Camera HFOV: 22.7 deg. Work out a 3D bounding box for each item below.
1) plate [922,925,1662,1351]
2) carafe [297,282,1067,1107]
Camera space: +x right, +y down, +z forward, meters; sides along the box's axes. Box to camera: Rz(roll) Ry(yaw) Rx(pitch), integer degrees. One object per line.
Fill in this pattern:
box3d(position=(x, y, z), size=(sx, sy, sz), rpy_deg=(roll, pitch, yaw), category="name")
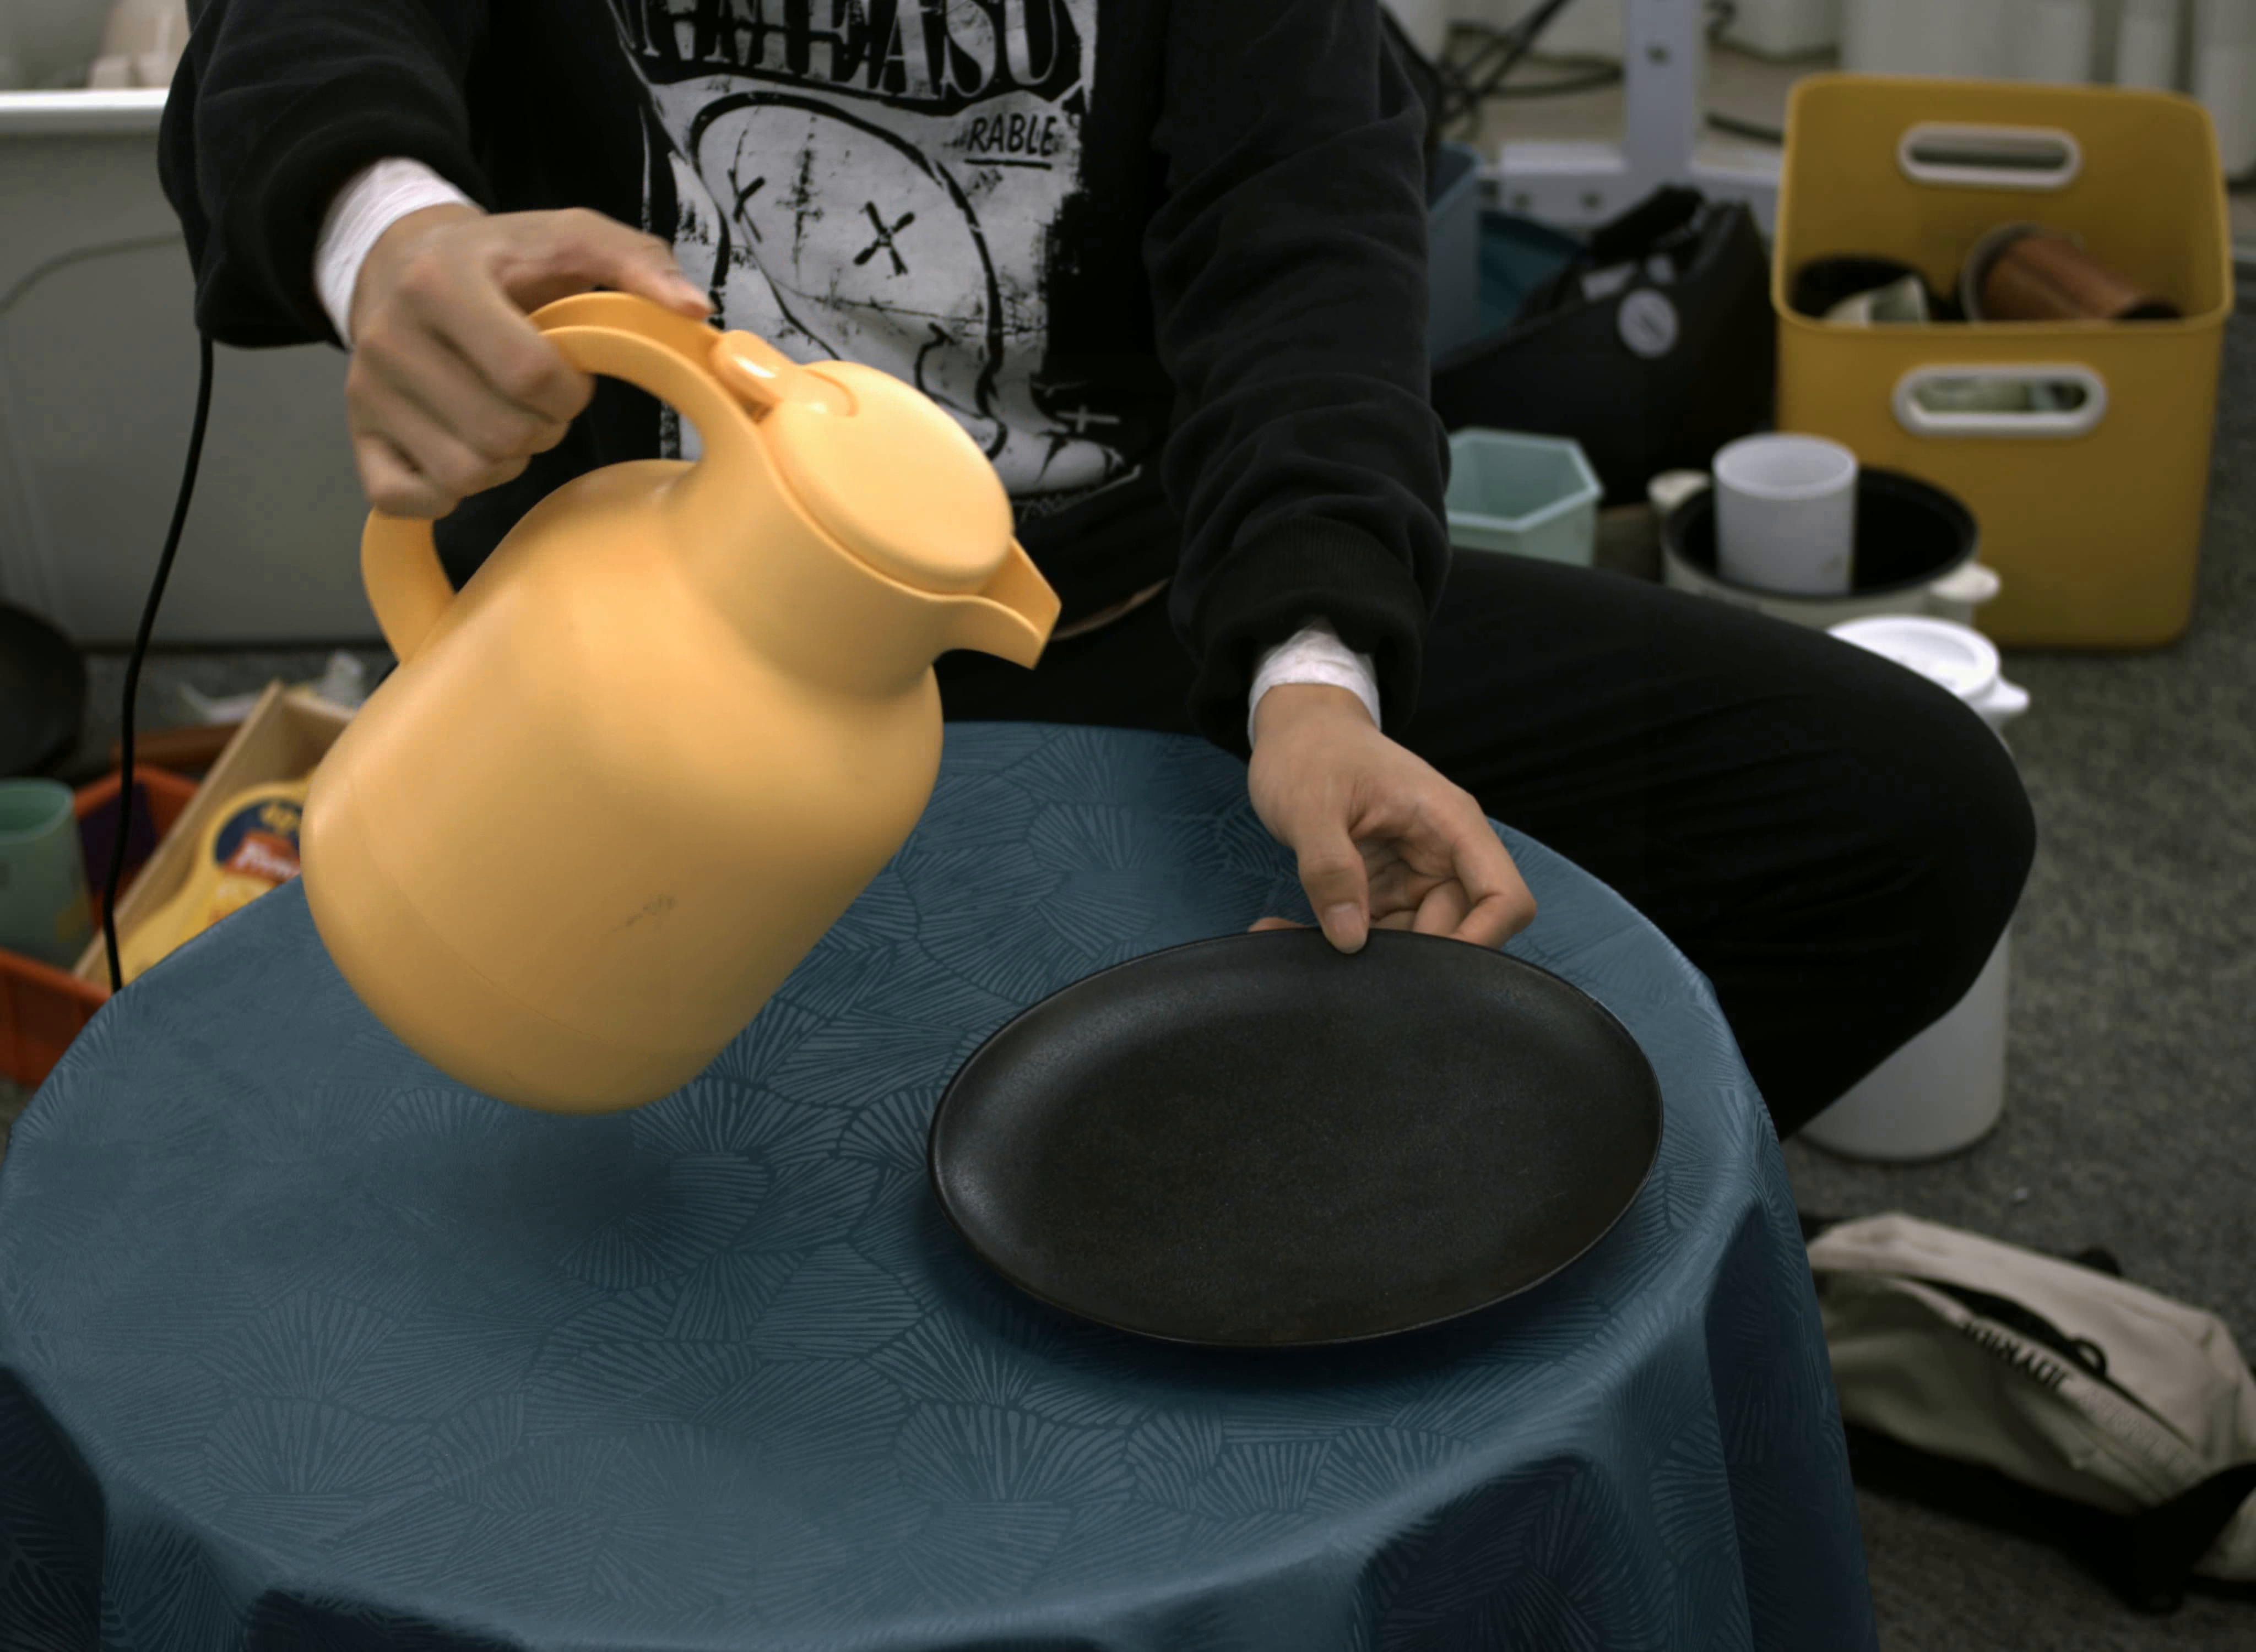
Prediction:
box3d(position=(0.054, 0.107, 1.846), size=(0.243, 0.023, 0.248), rpy_deg=(-3, 31, 2), category="plate")
box3d(position=(-0.156, -0.050, 1.799), size=(0.202, 0.256, 0.166), rpy_deg=(41, 29, -8), category="carafe")
